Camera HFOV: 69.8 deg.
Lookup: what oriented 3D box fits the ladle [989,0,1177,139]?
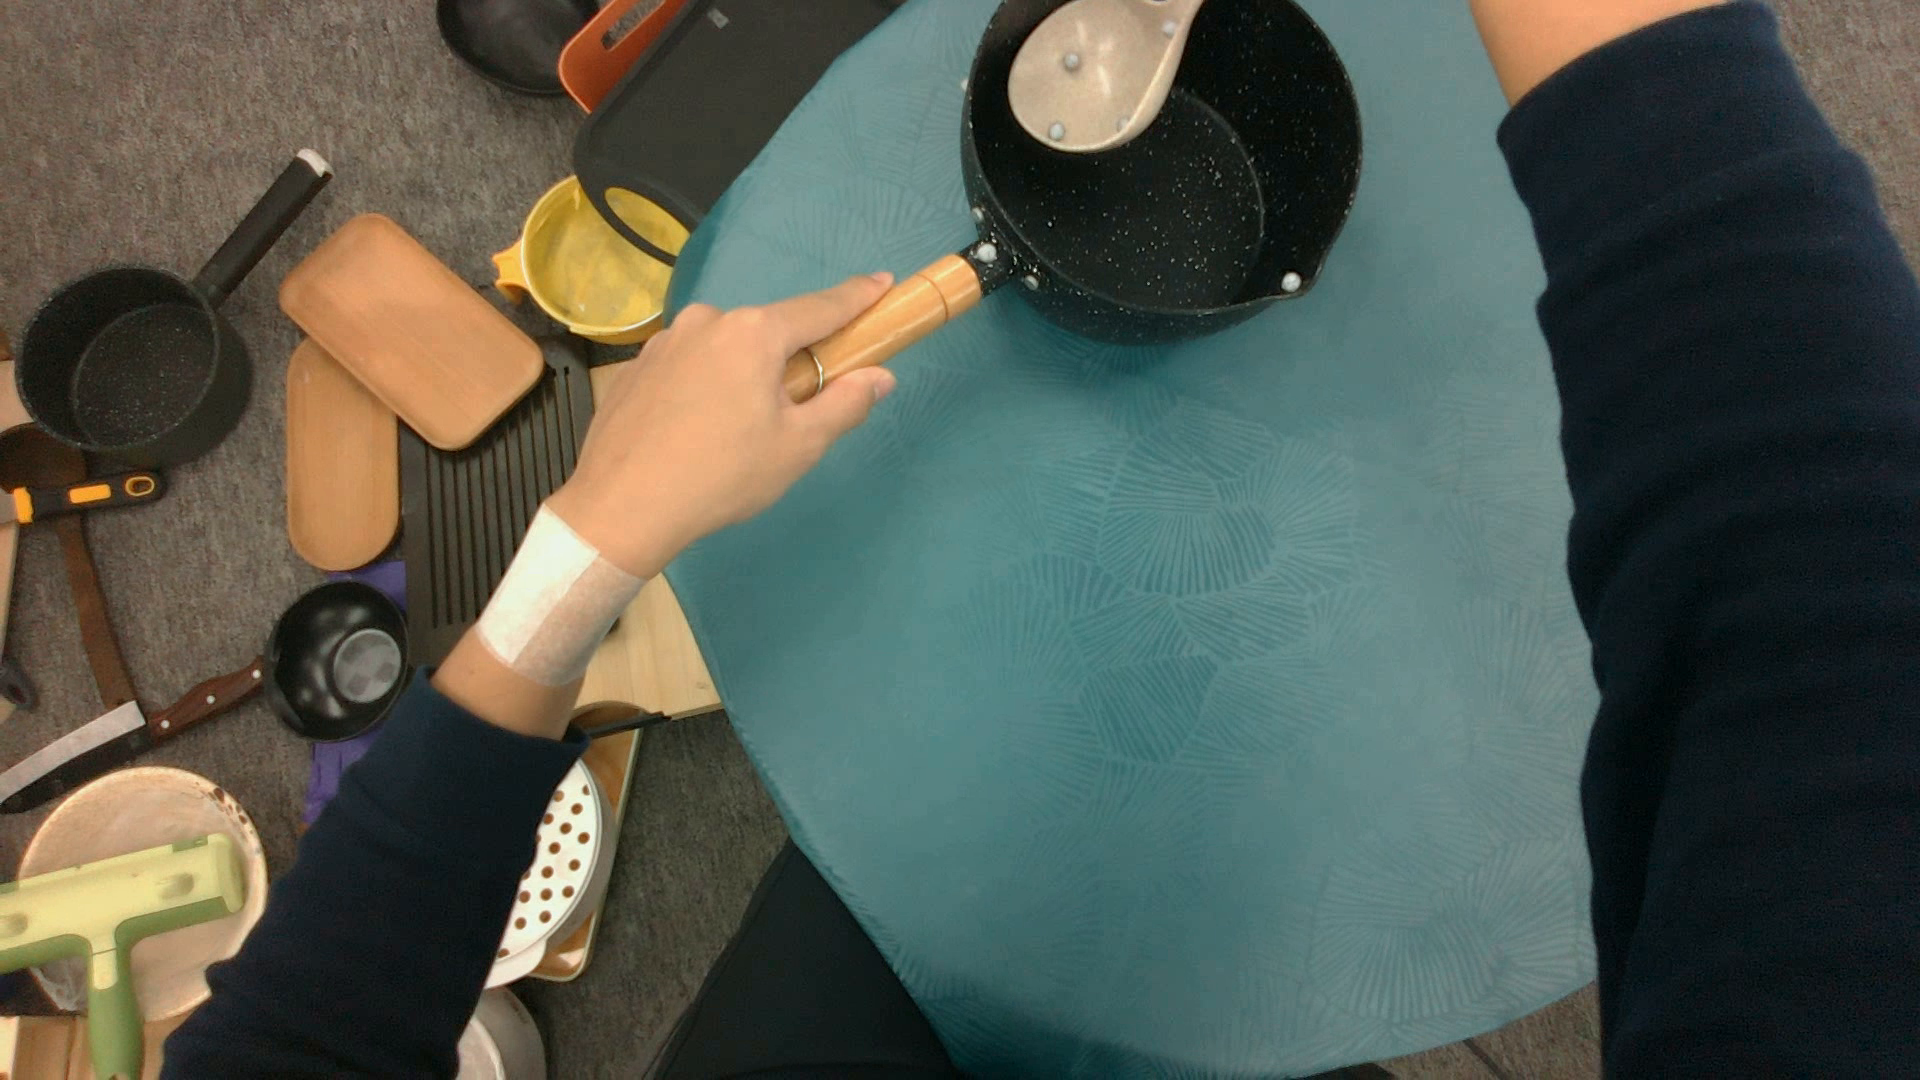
[{"bbox_3d":[0.090,-0.262,0.556,0.069,0.273,0.089,12,68,-16],"label":"ladle"}]

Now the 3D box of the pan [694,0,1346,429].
[{"bbox_3d":[0.024,-0.141,0.634,0.344,0.108,0.207,-39,86,-16],"label":"pan"}]
